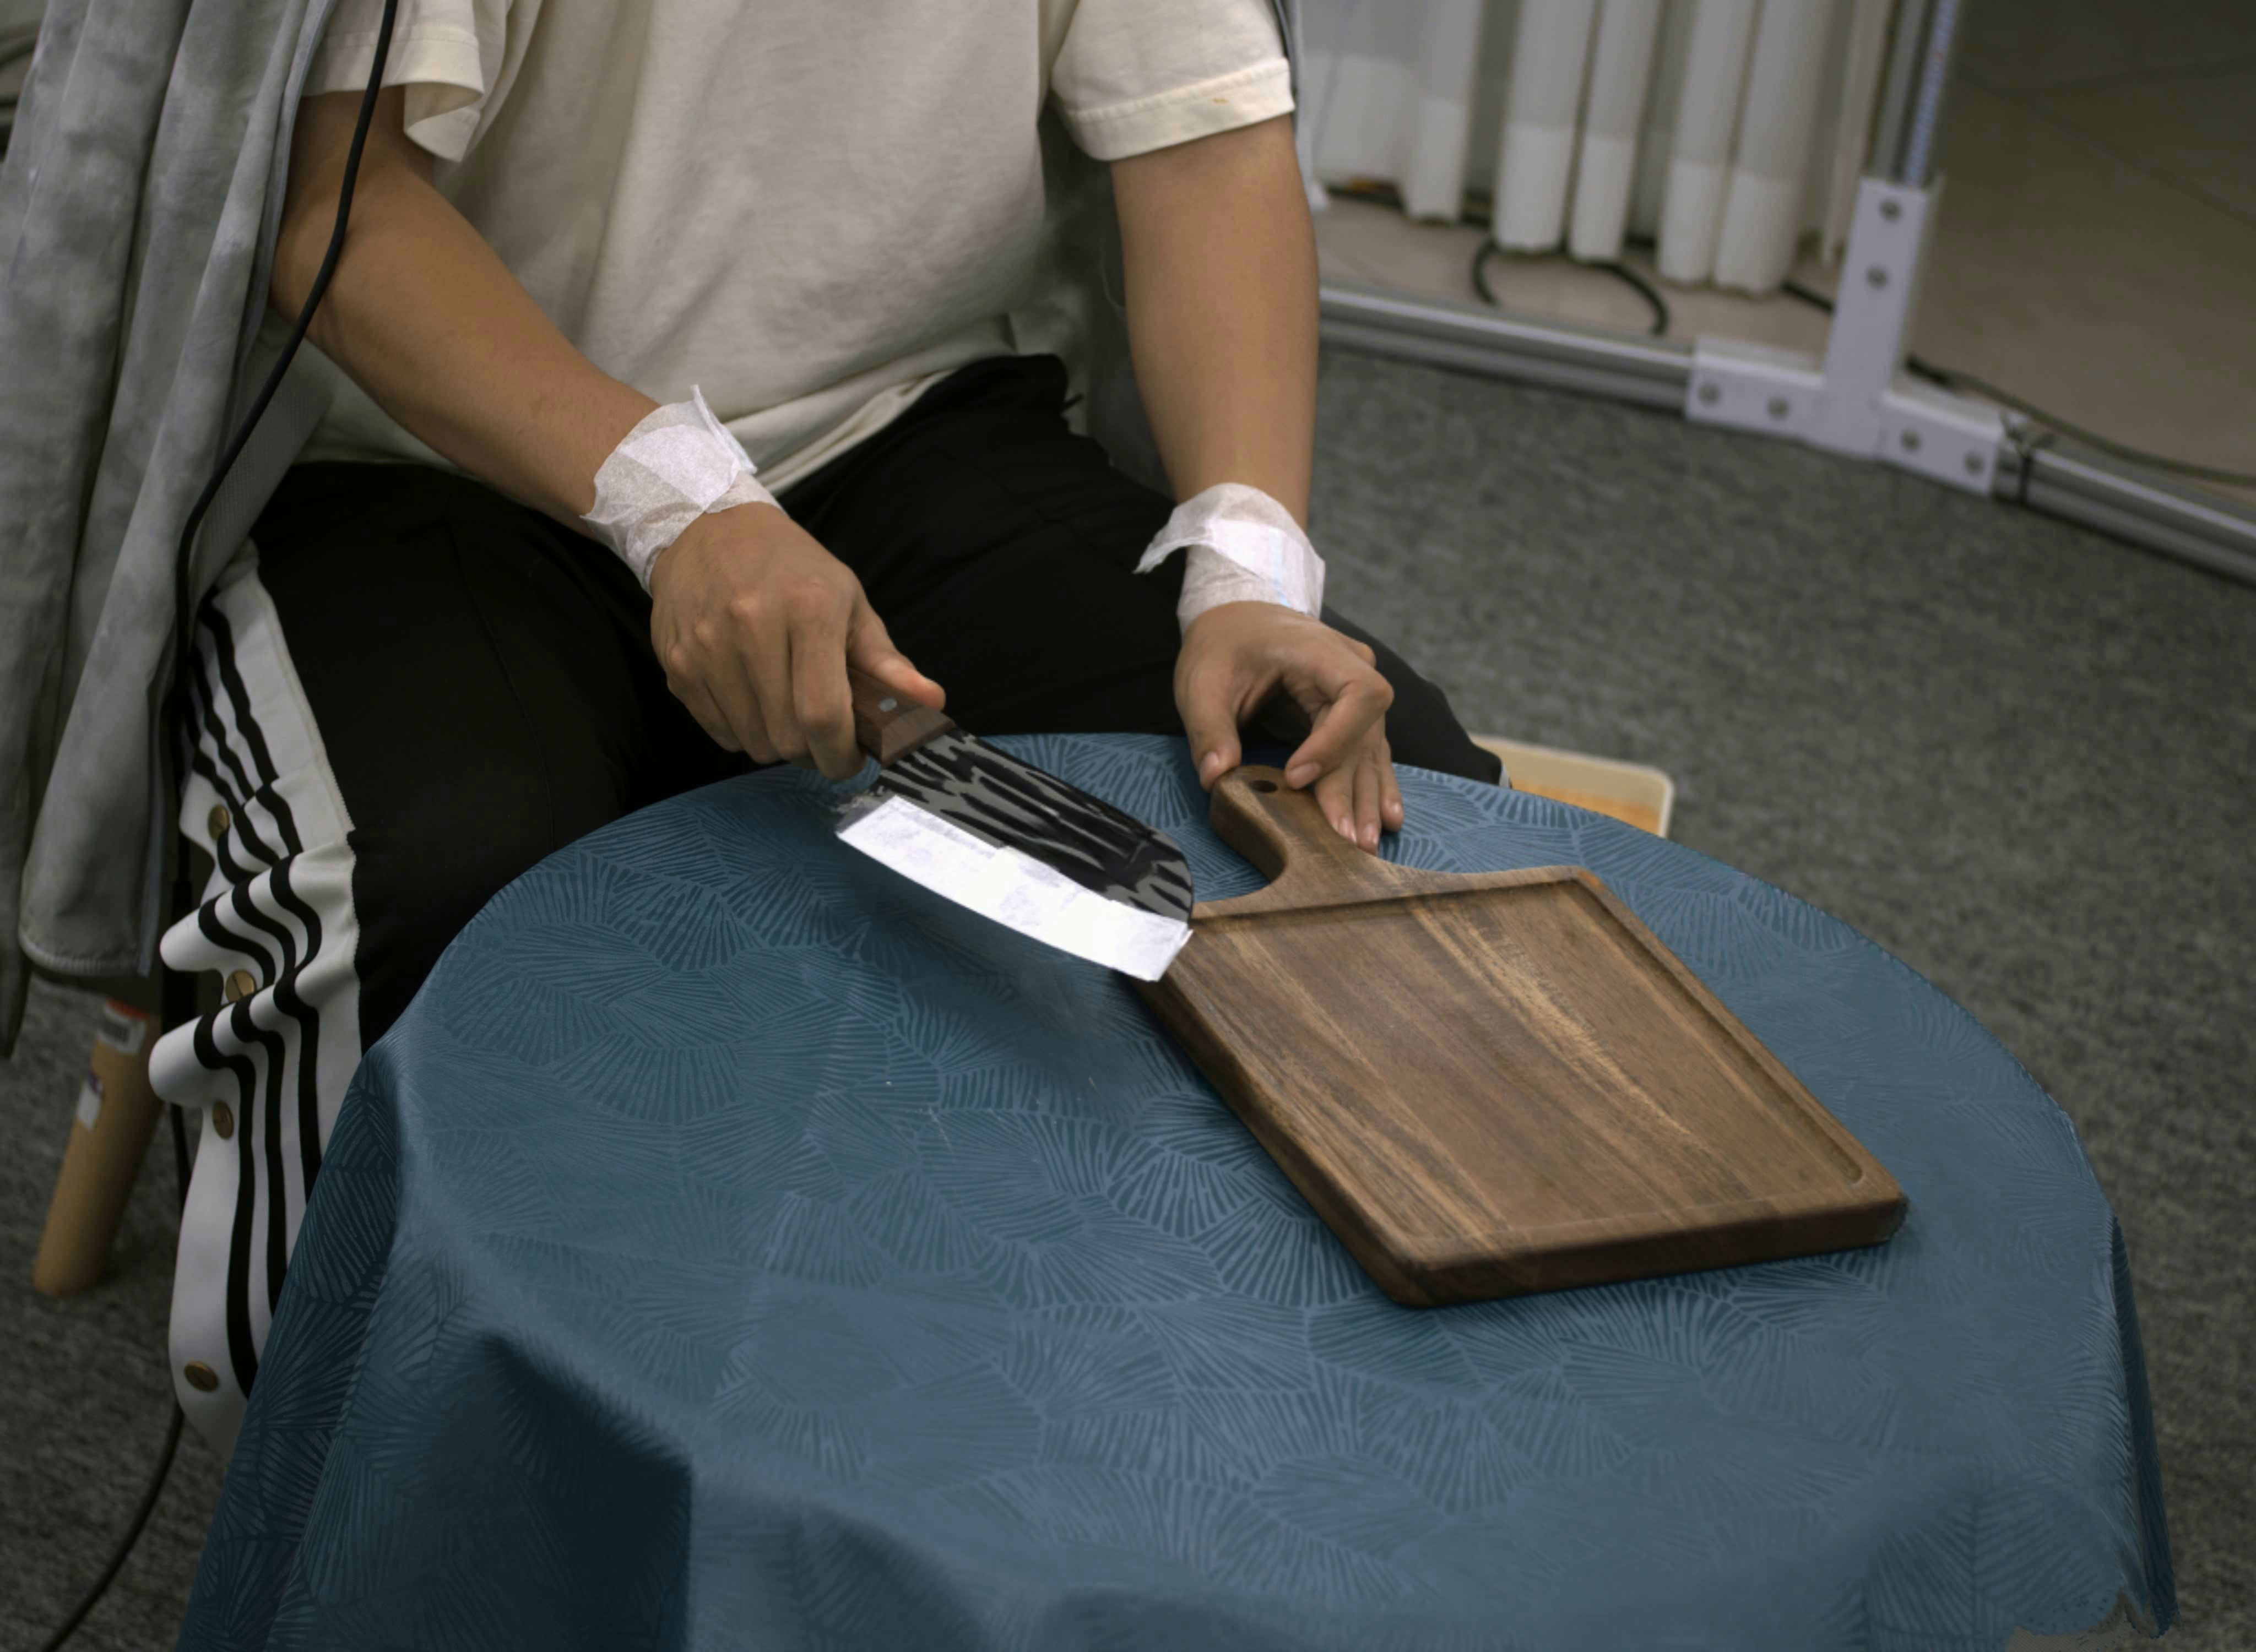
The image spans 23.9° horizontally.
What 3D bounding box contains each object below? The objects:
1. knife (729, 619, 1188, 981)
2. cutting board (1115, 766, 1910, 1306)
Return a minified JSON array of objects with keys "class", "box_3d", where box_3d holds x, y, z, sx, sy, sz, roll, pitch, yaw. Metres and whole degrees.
[{"class":"knife","box_3d":[-0.071,-0.010,1.949,0.068,0.024,0.302,-37,40,-23]},{"class":"cutting board","box_3d":[0.112,0.064,1.925,0.200,0.023,0.355,-6,29,-23]}]
